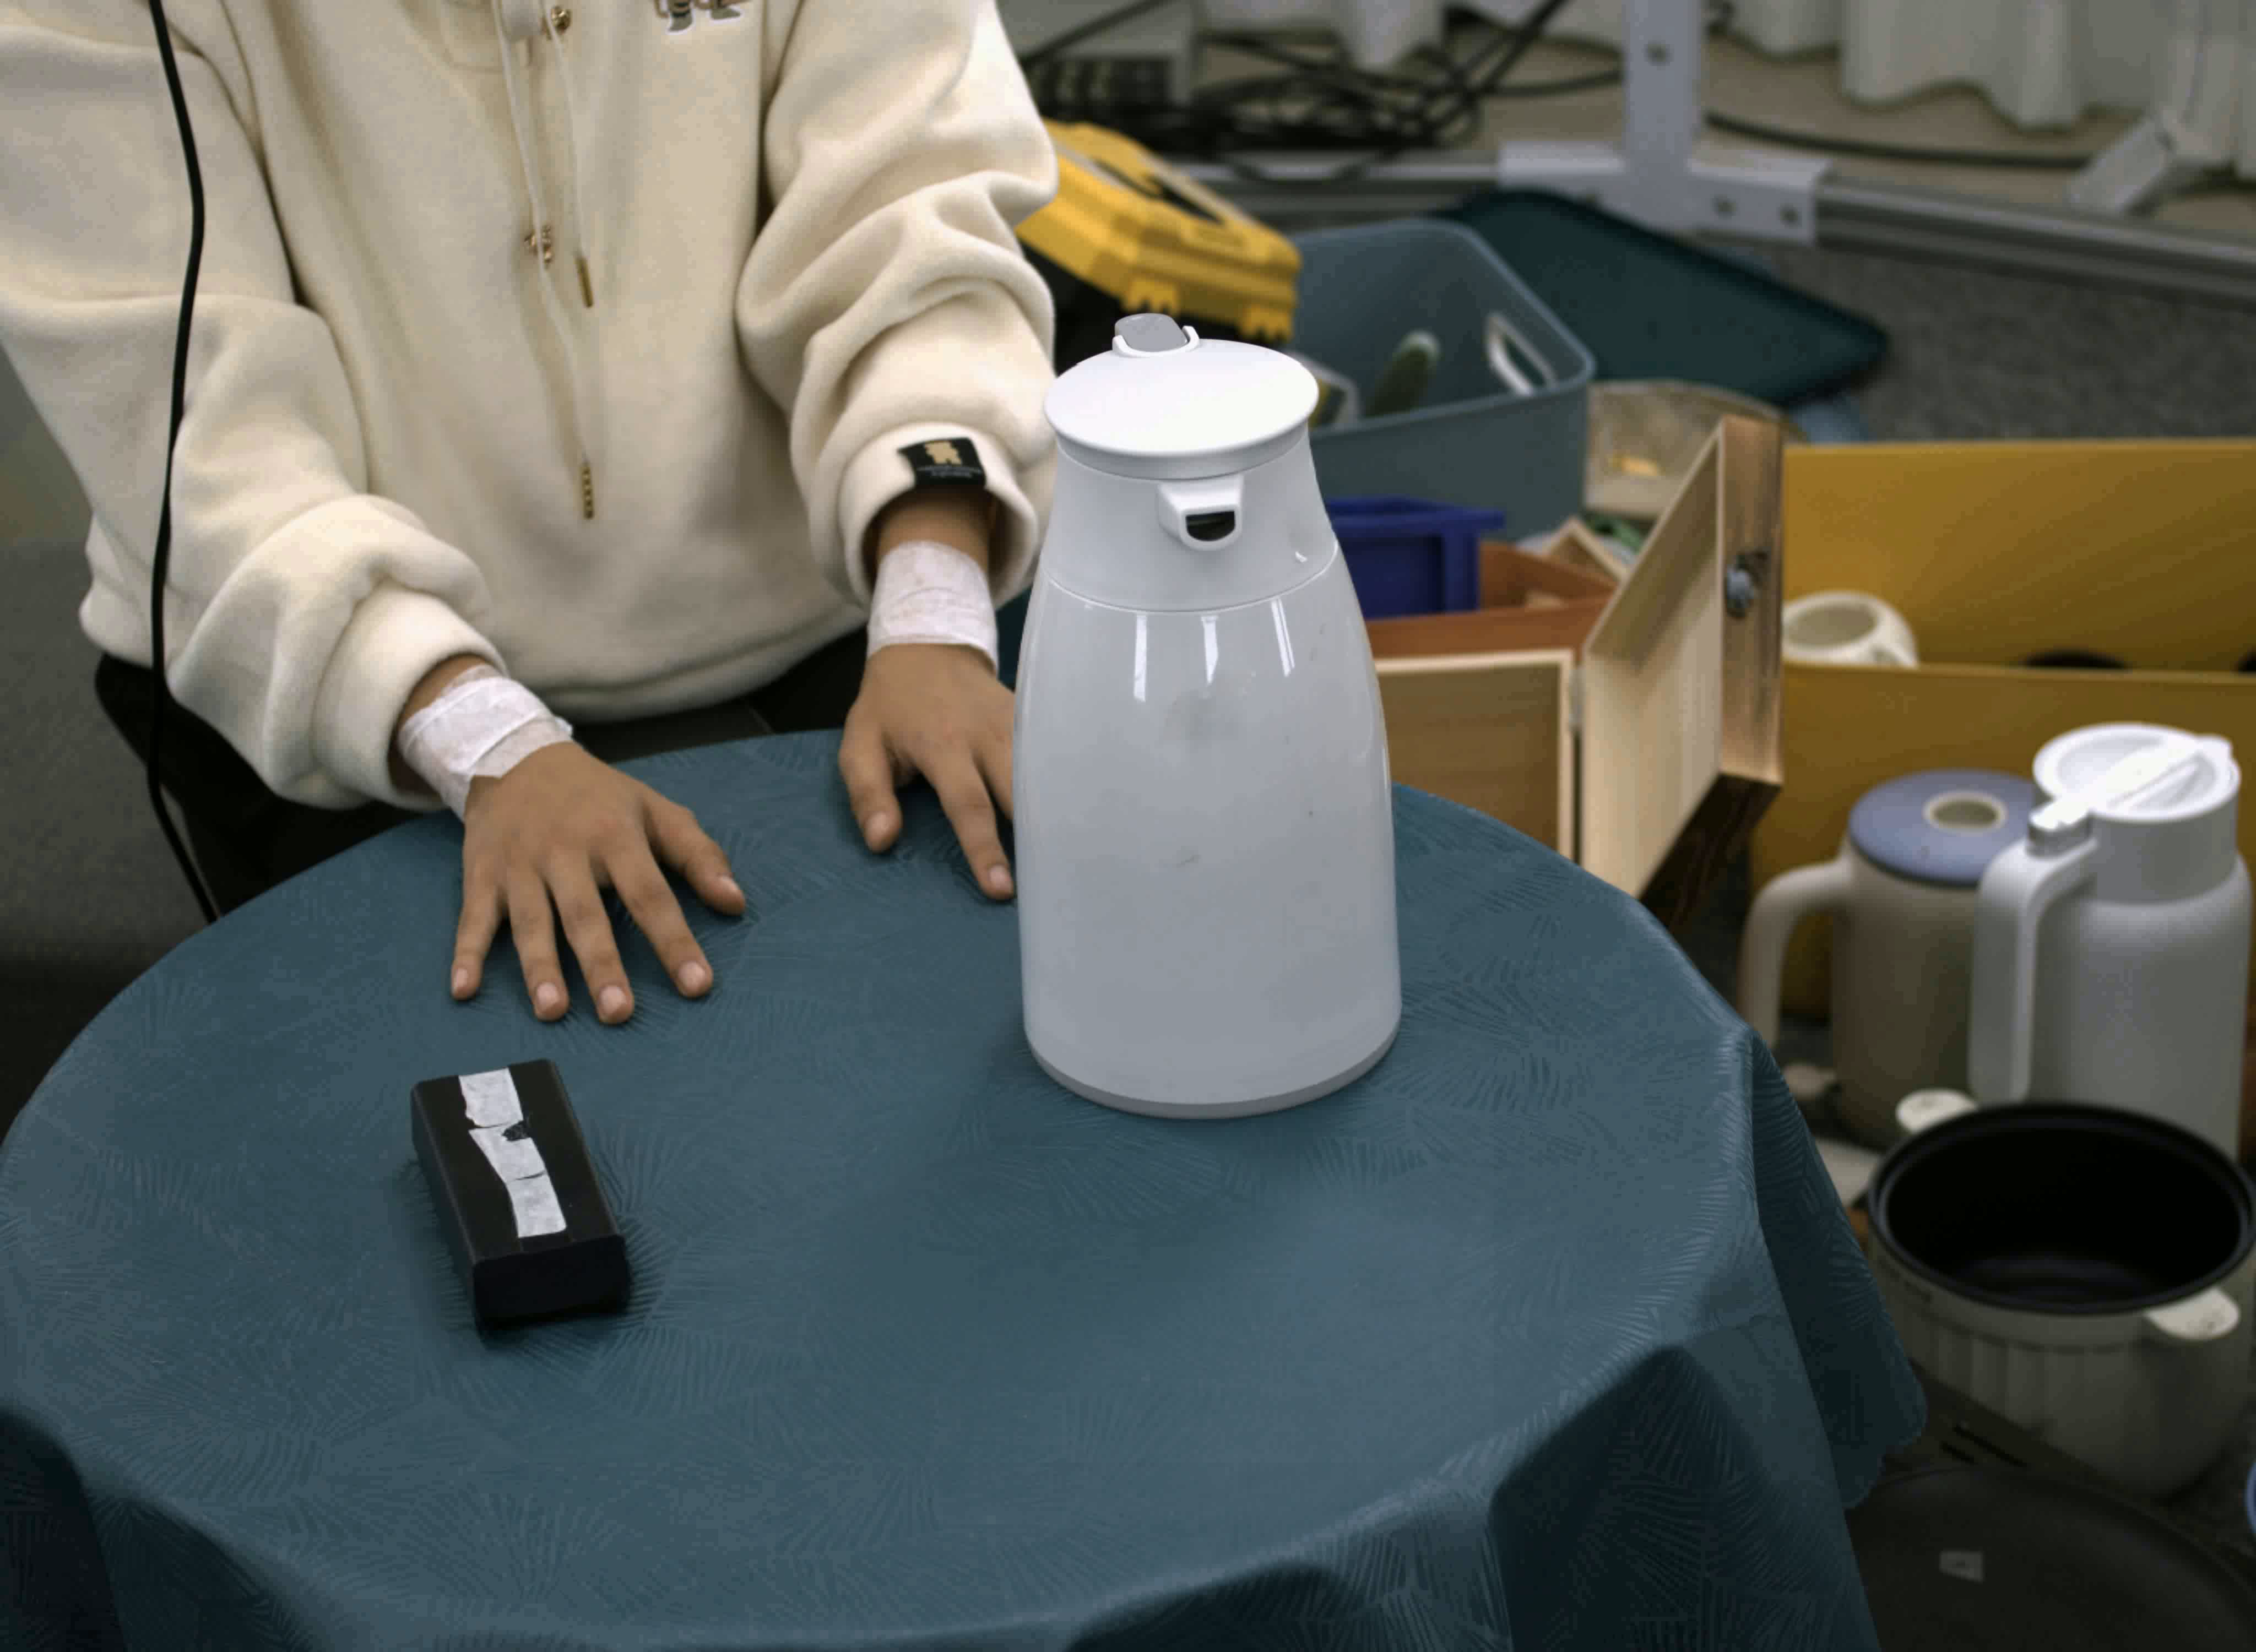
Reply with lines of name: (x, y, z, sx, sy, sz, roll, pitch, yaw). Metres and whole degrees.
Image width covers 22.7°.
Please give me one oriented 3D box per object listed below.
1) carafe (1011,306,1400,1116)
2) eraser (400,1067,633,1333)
carafe: (0.019, -0.049, 1.922, 0.132, 0.246, 0.170, -7, 26, -7)
eraser: (-0.201, 0.123, 1.848, 0.053, 0.030, 0.126, -8, 28, -16)
